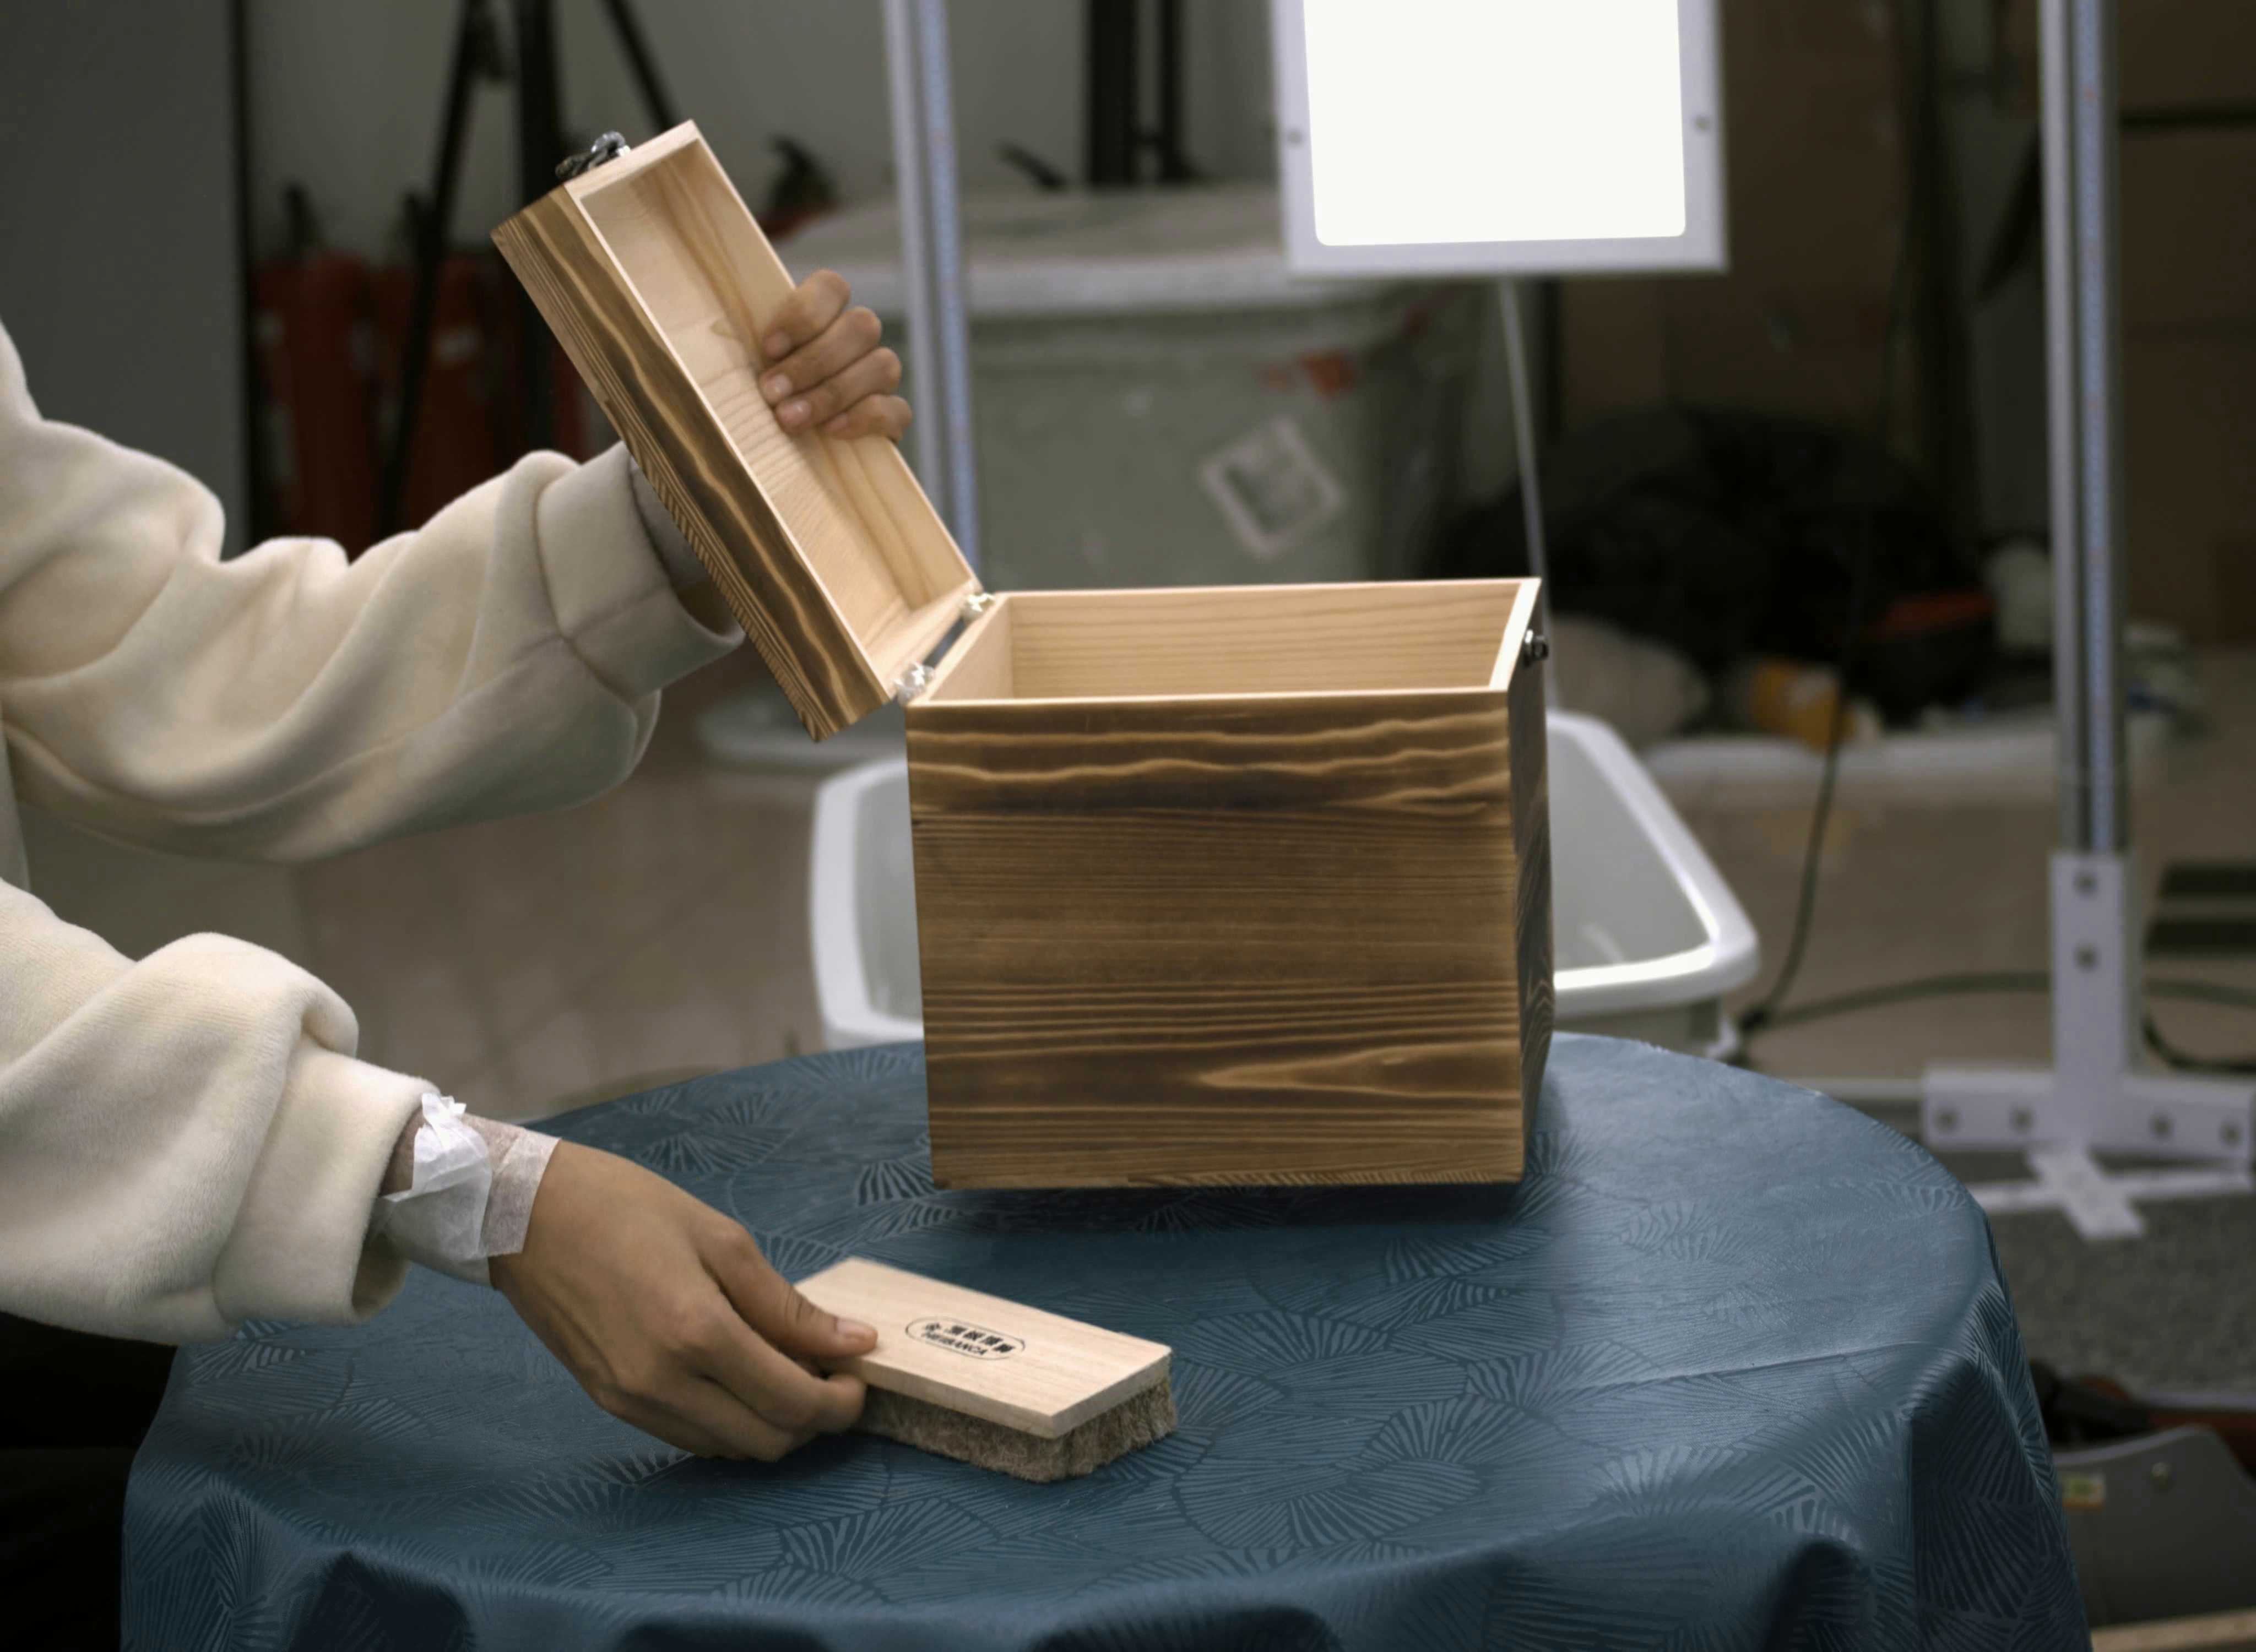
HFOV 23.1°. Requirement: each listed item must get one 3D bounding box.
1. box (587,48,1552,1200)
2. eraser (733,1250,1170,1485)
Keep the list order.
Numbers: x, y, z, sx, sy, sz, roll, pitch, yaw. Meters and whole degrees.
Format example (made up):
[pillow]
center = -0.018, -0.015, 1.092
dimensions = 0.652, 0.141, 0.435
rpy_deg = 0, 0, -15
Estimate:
[box]
center = -0.014, -0.079, 1.897
dimensions = 0.323, 0.377, 0.207
rpy_deg = 0, 14, 8
[eraser]
center = -0.054, 0.166, 1.684
dimensions = 0.055, 0.029, 0.142
rpy_deg = -23, 24, -40
